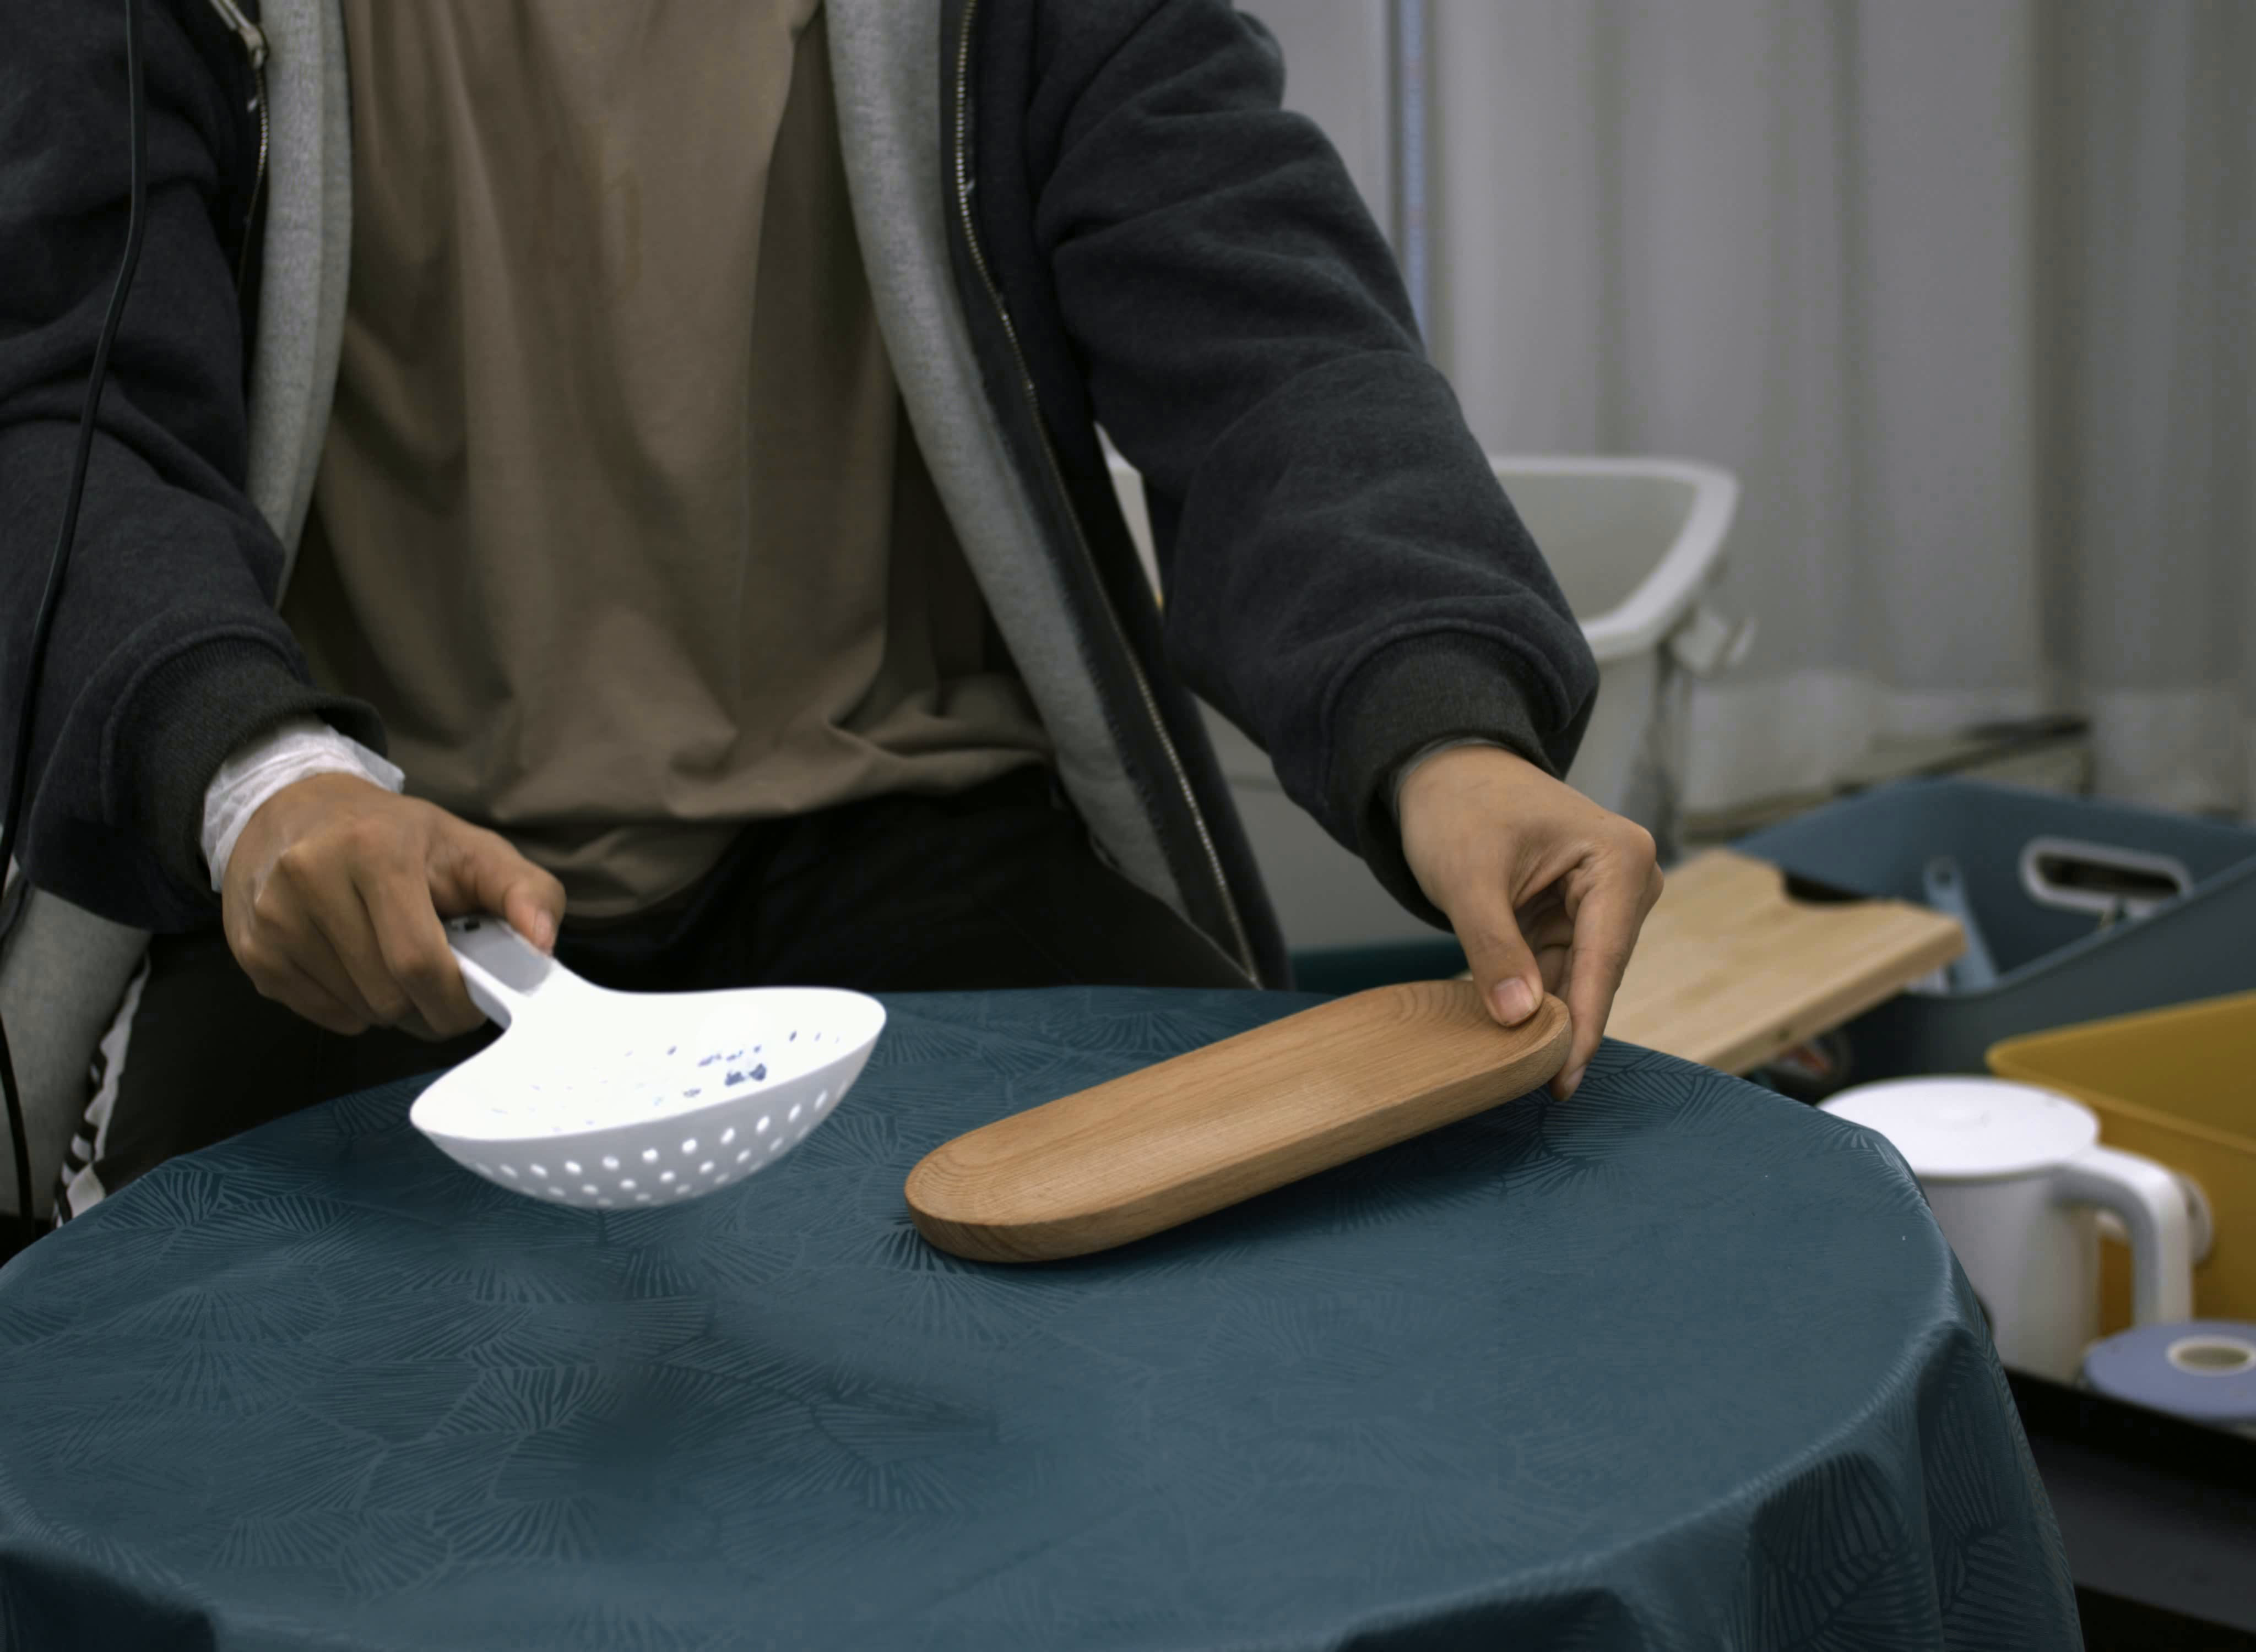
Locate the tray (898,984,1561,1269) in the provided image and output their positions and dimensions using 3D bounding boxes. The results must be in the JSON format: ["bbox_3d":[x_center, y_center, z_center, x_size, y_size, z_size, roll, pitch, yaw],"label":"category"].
[{"bbox_3d":[0.034,0.093,1.714,0.231,0.020,0.102,-20,18,-28],"label":"tray"}]

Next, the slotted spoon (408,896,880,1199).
[{"bbox_3d":[-0.170,0.056,1.643,0.135,0.045,0.352,-14,17,-16],"label":"slotted spoon"}]
